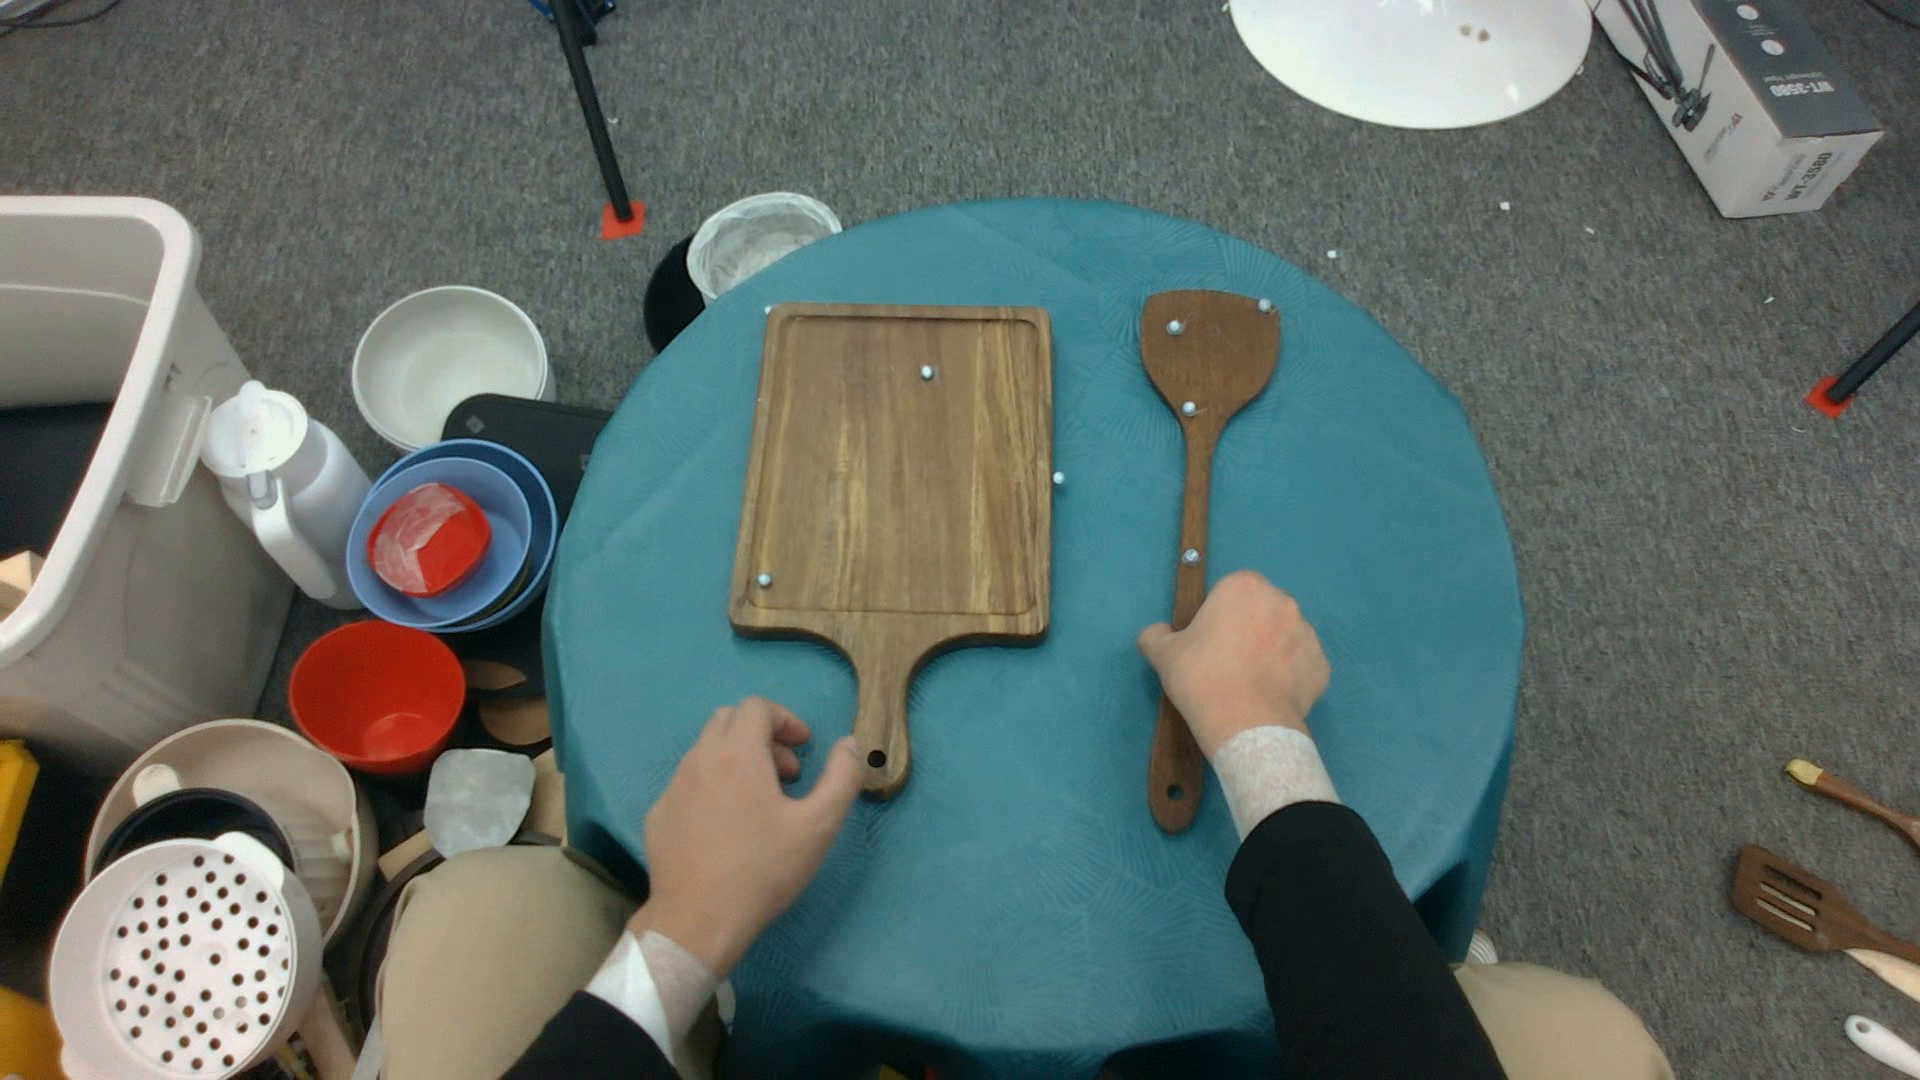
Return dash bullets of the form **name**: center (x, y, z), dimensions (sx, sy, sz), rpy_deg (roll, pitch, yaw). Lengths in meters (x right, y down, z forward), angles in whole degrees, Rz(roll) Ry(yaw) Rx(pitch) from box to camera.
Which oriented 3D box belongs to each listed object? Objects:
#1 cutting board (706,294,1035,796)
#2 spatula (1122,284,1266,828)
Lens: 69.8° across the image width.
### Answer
- **cutting board**: center (-0.053, -0.012, 0.861), dimensions (0.201, 0.023, 0.353), rpy_deg (1, 61, 1)
- **spatula**: center (0.136, -0.008, 0.861), dimensions (0.096, 0.016, 0.387), rpy_deg (7, 61, 5)
